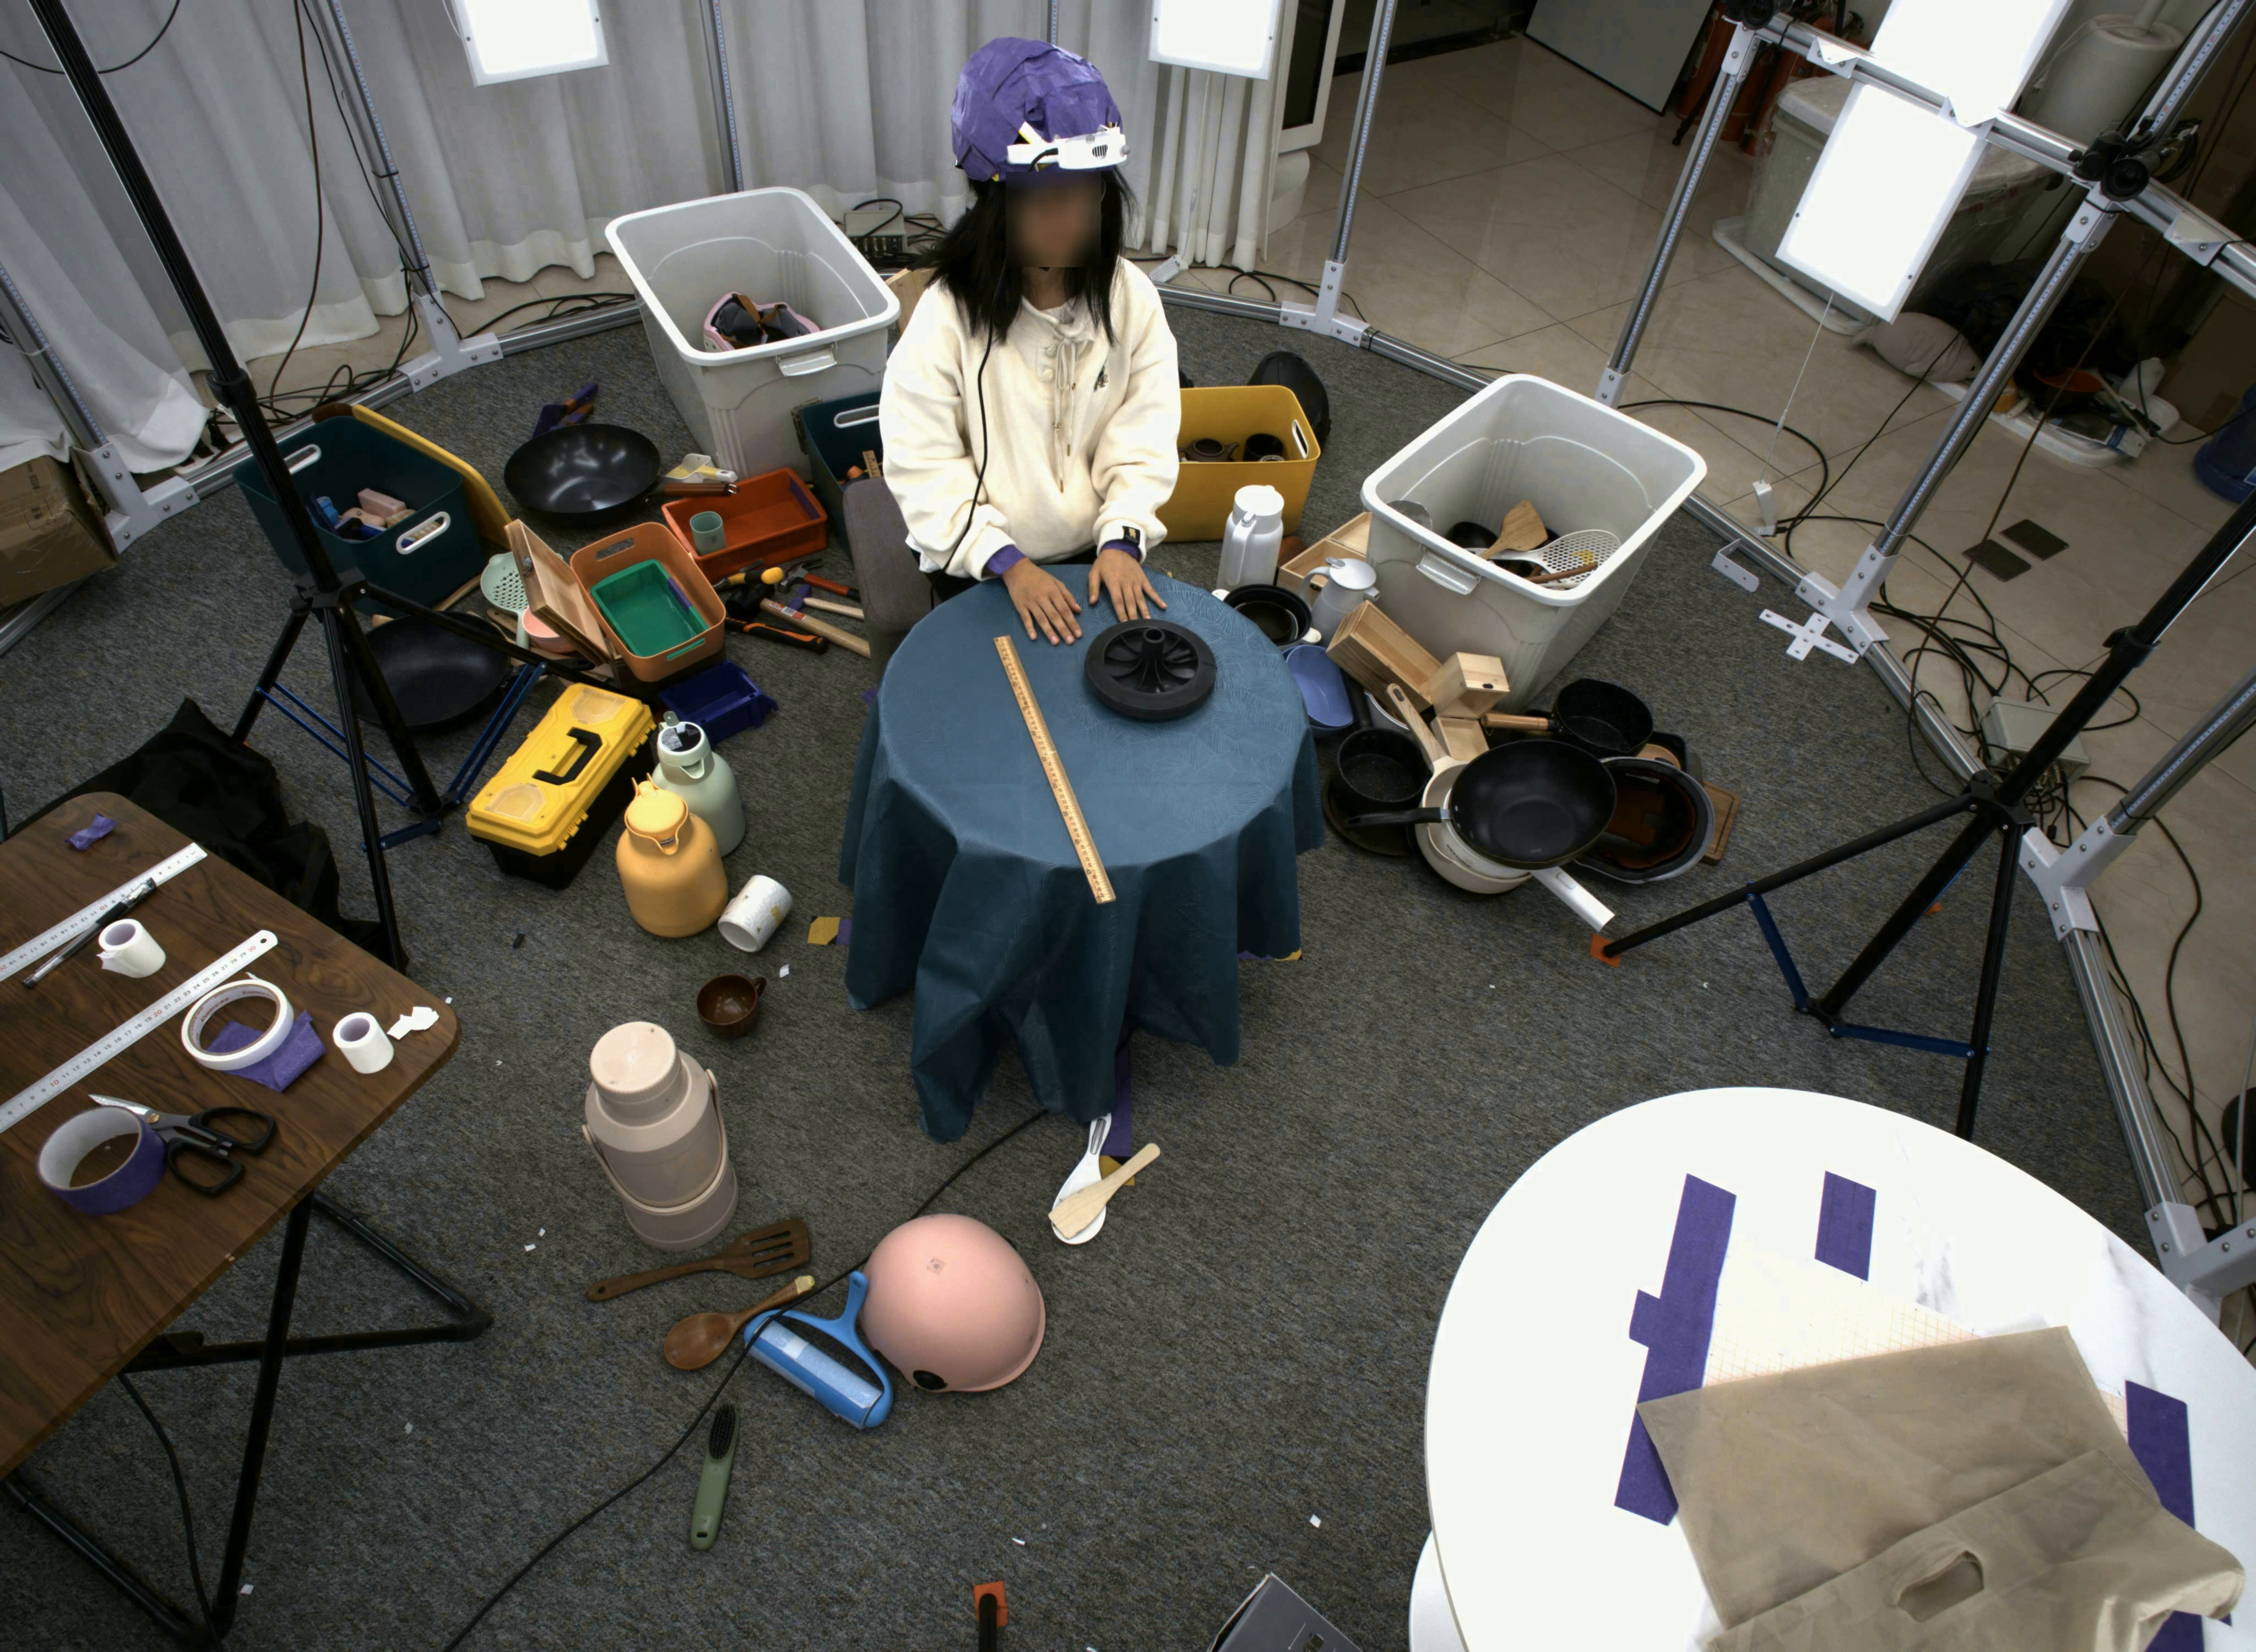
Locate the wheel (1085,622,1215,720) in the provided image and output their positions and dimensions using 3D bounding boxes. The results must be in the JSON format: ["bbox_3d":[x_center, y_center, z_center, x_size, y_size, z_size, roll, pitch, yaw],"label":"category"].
[{"bbox_3d":[0.034,-0.240,1.831,0.189,0.077,0.192,32,54,21],"label":"wheel"}]

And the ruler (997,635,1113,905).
[{"bbox_3d":[-0.107,-0.092,1.739,0.027,0.006,0.513,-12,51,-13],"label":"ruler"}]
